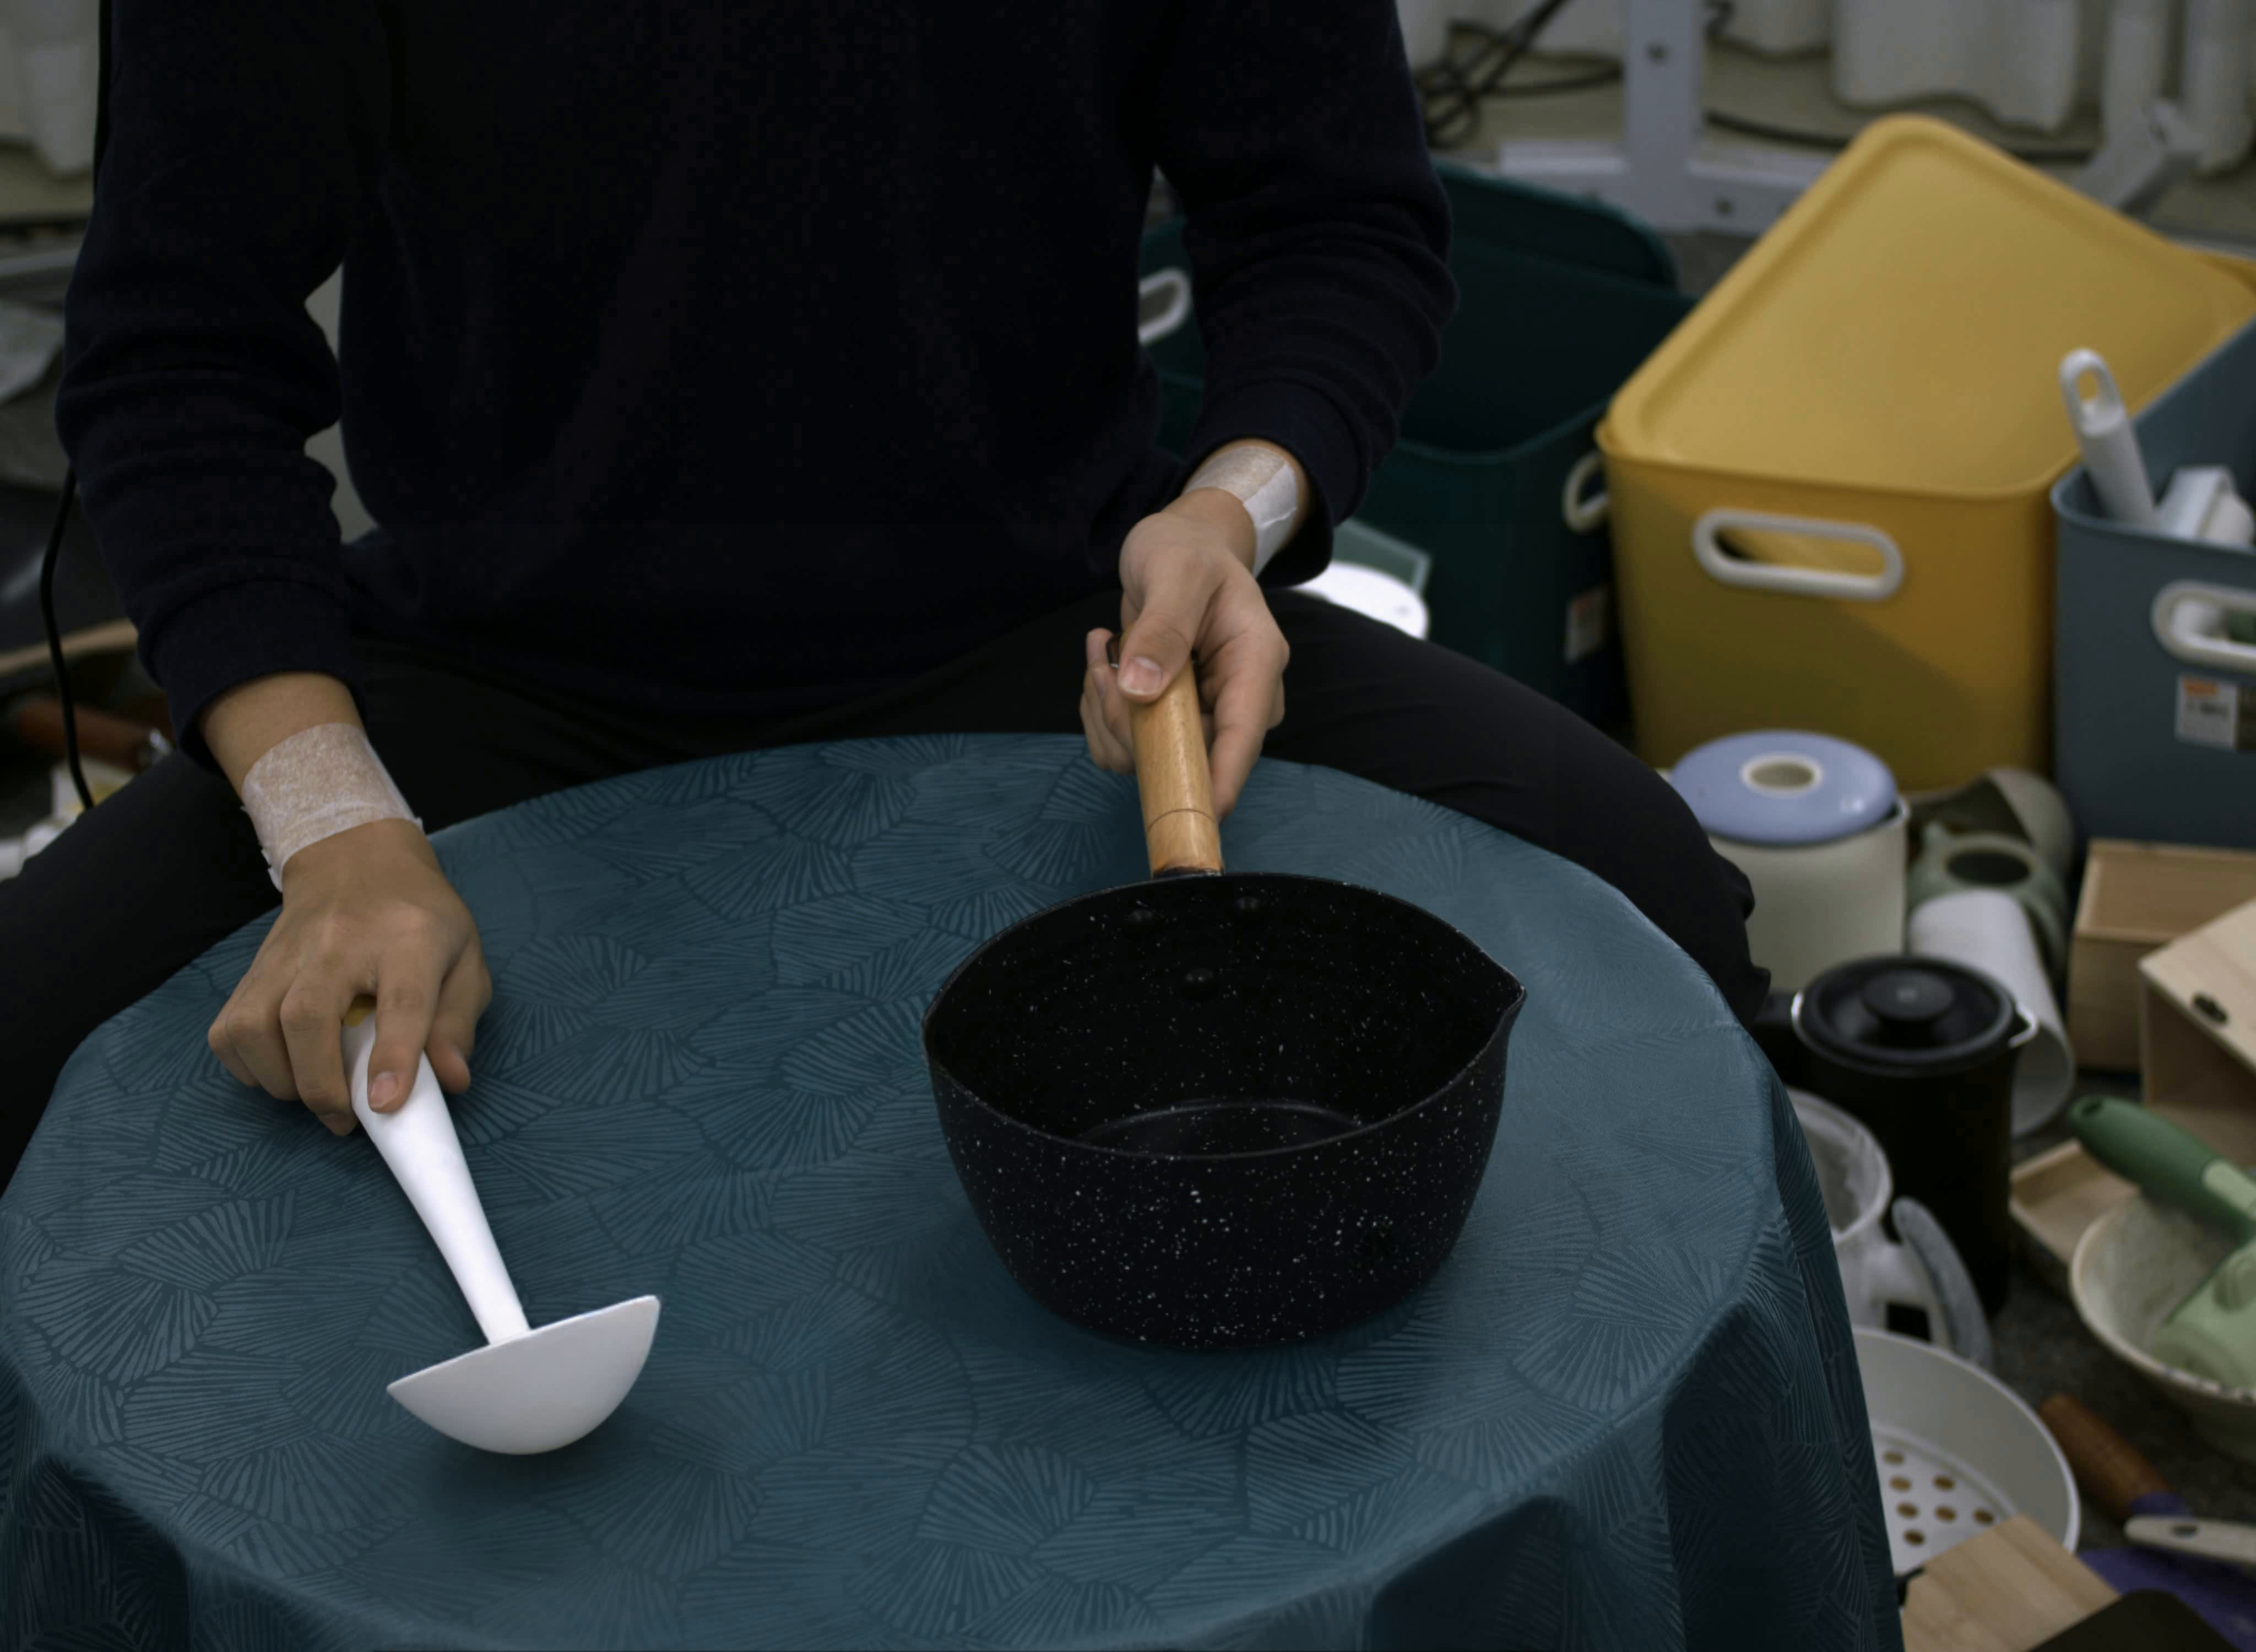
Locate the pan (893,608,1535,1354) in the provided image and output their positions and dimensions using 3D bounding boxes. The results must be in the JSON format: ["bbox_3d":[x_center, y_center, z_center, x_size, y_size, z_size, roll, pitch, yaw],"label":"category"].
[{"bbox_3d":[0.022,0.048,1.885,0.207,0.107,0.347,-6,28,-3],"label":"pan"}]

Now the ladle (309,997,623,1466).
[{"bbox_3d":[-0.229,0.120,1.821,0.090,0.069,0.295,-25,31,-7],"label":"ladle"}]
